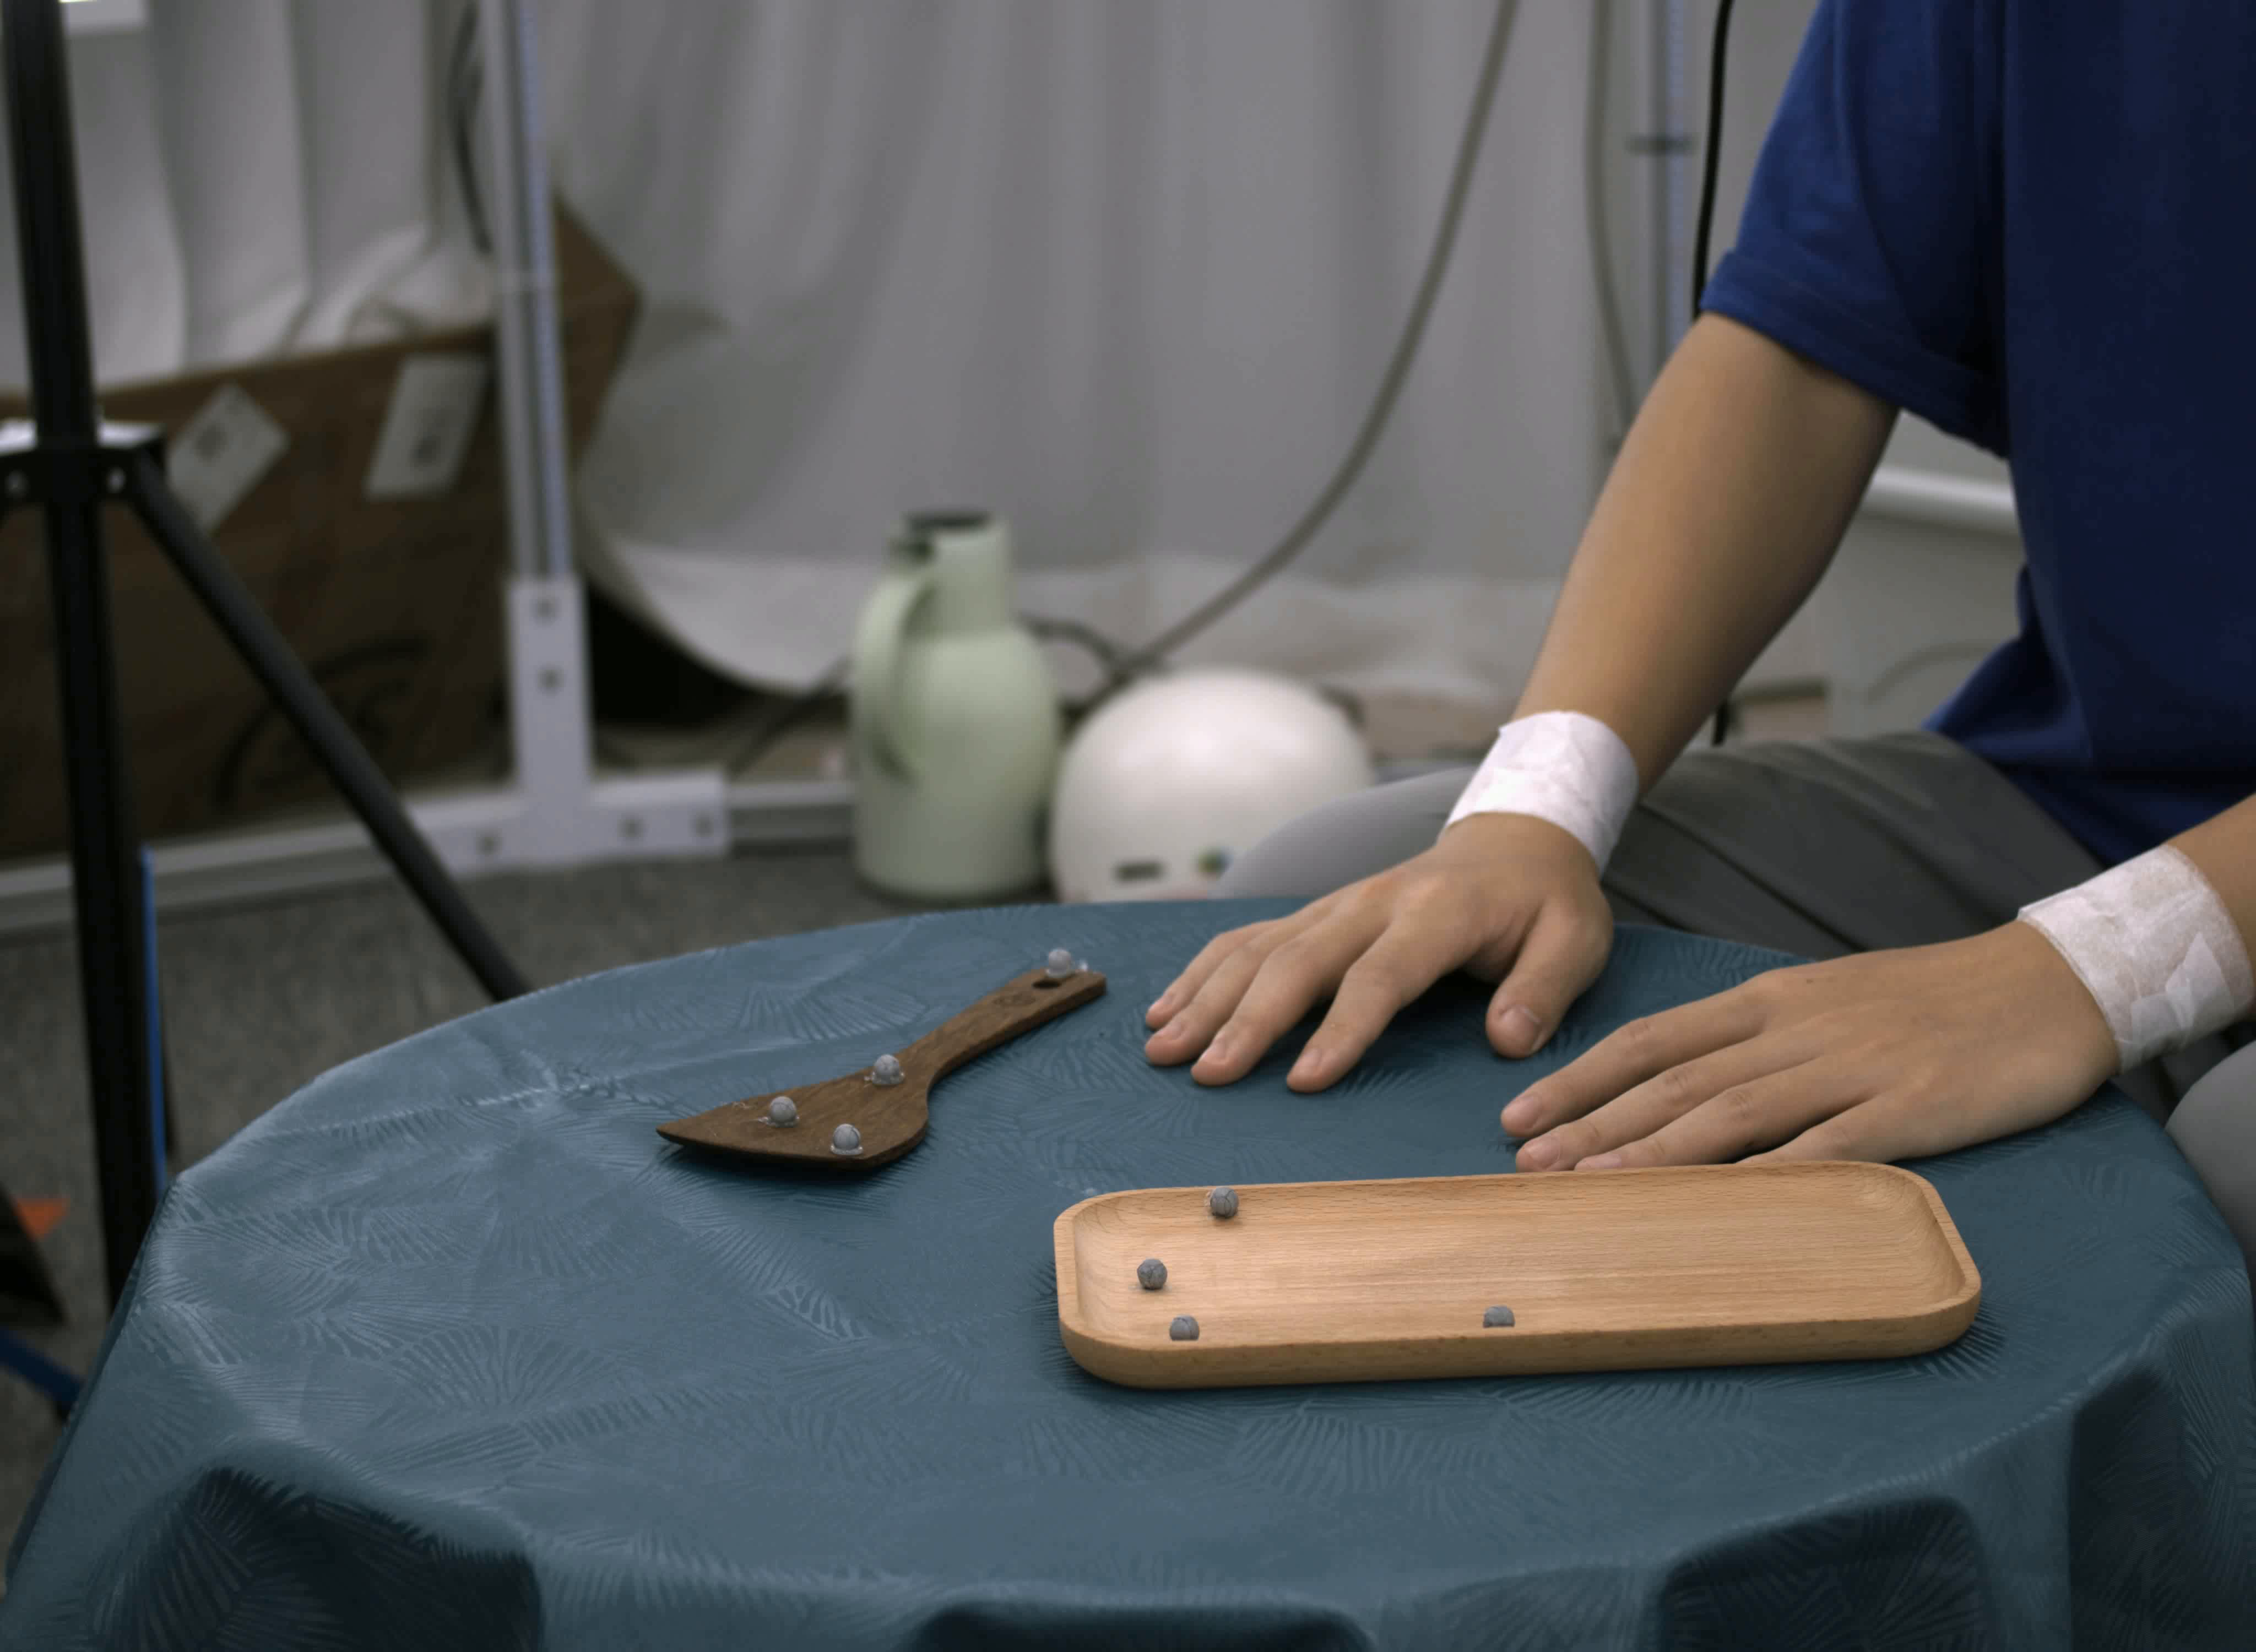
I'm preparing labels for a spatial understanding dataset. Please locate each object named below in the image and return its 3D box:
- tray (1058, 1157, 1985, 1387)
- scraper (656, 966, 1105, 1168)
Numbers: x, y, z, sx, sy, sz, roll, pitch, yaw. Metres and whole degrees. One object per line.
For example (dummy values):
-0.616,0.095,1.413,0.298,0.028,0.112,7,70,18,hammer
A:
0.106,0.123,1.458,0.250,0.023,0.131,-1,18,2,tray
-0.065,0.074,1.671,0.077,0.011,0.207,7,17,28,scraper
